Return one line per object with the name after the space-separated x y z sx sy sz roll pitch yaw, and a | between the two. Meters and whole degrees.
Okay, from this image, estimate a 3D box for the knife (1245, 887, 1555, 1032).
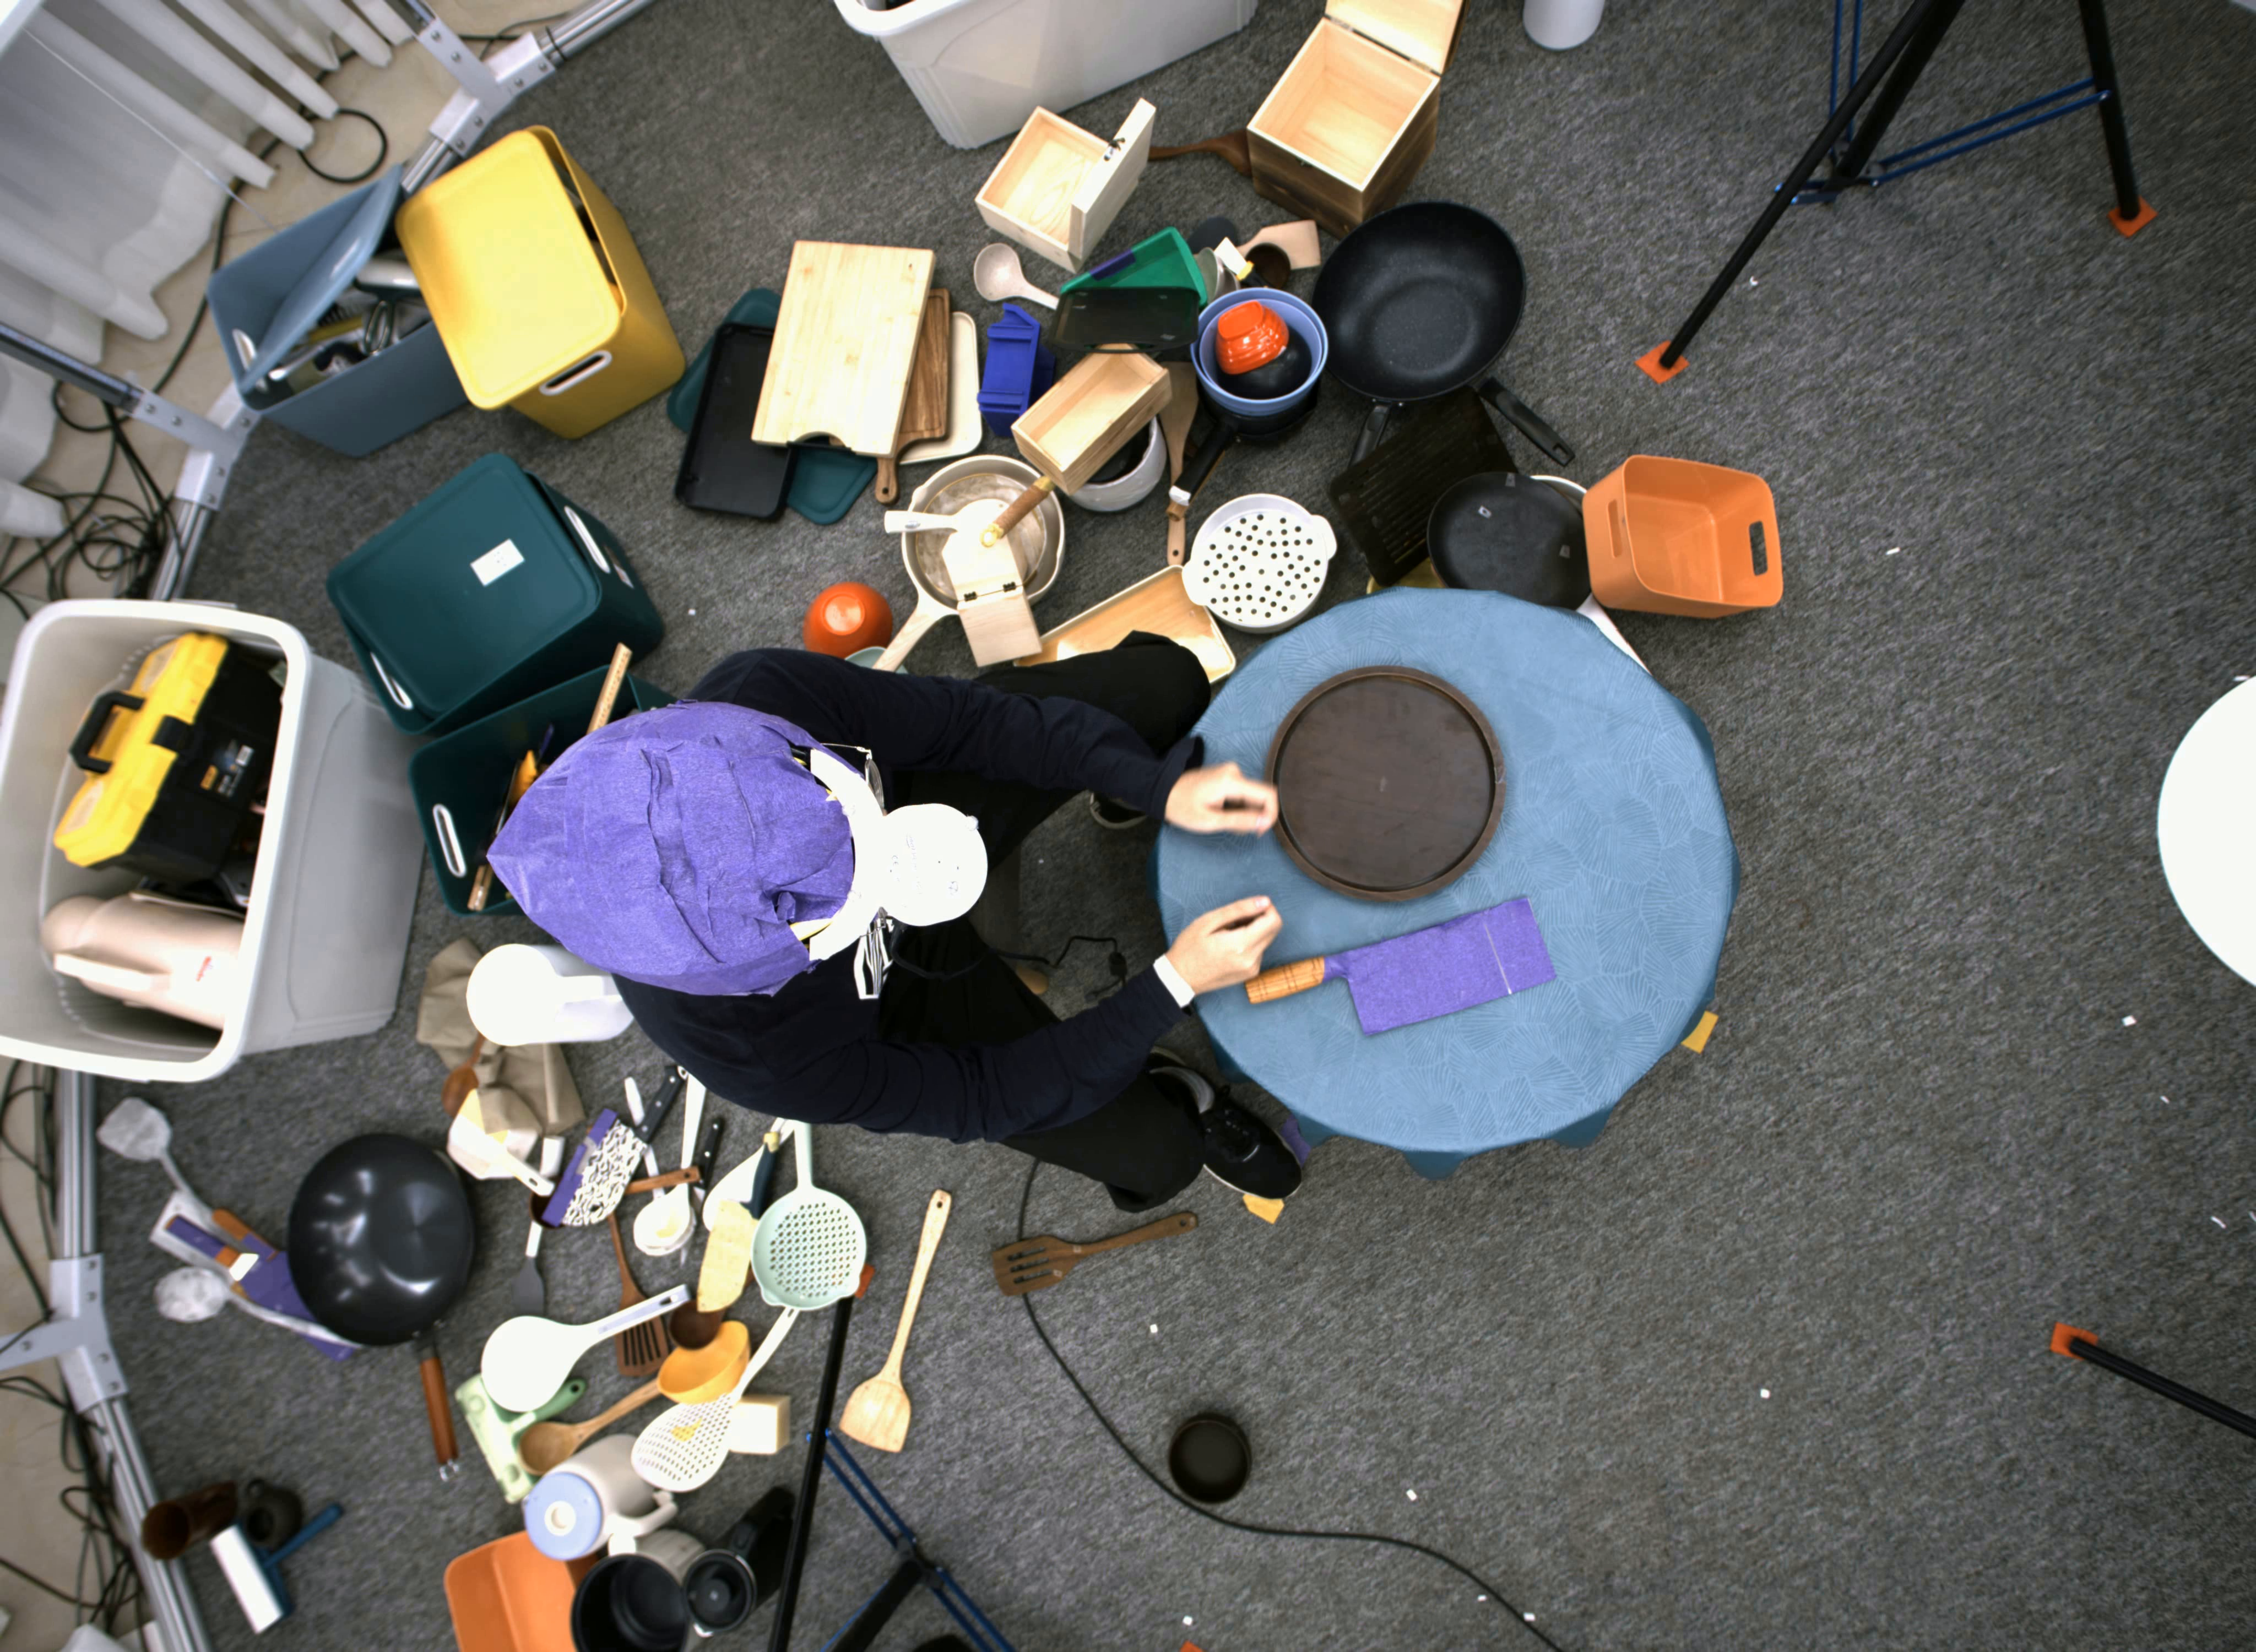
0.283 0.157 1.439 0.317 0.032 0.103 -19 83 9 | knife

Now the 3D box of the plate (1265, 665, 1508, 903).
0.271 -0.046 1.454 0.256 0.029 0.253 -1 86 10 | plate
